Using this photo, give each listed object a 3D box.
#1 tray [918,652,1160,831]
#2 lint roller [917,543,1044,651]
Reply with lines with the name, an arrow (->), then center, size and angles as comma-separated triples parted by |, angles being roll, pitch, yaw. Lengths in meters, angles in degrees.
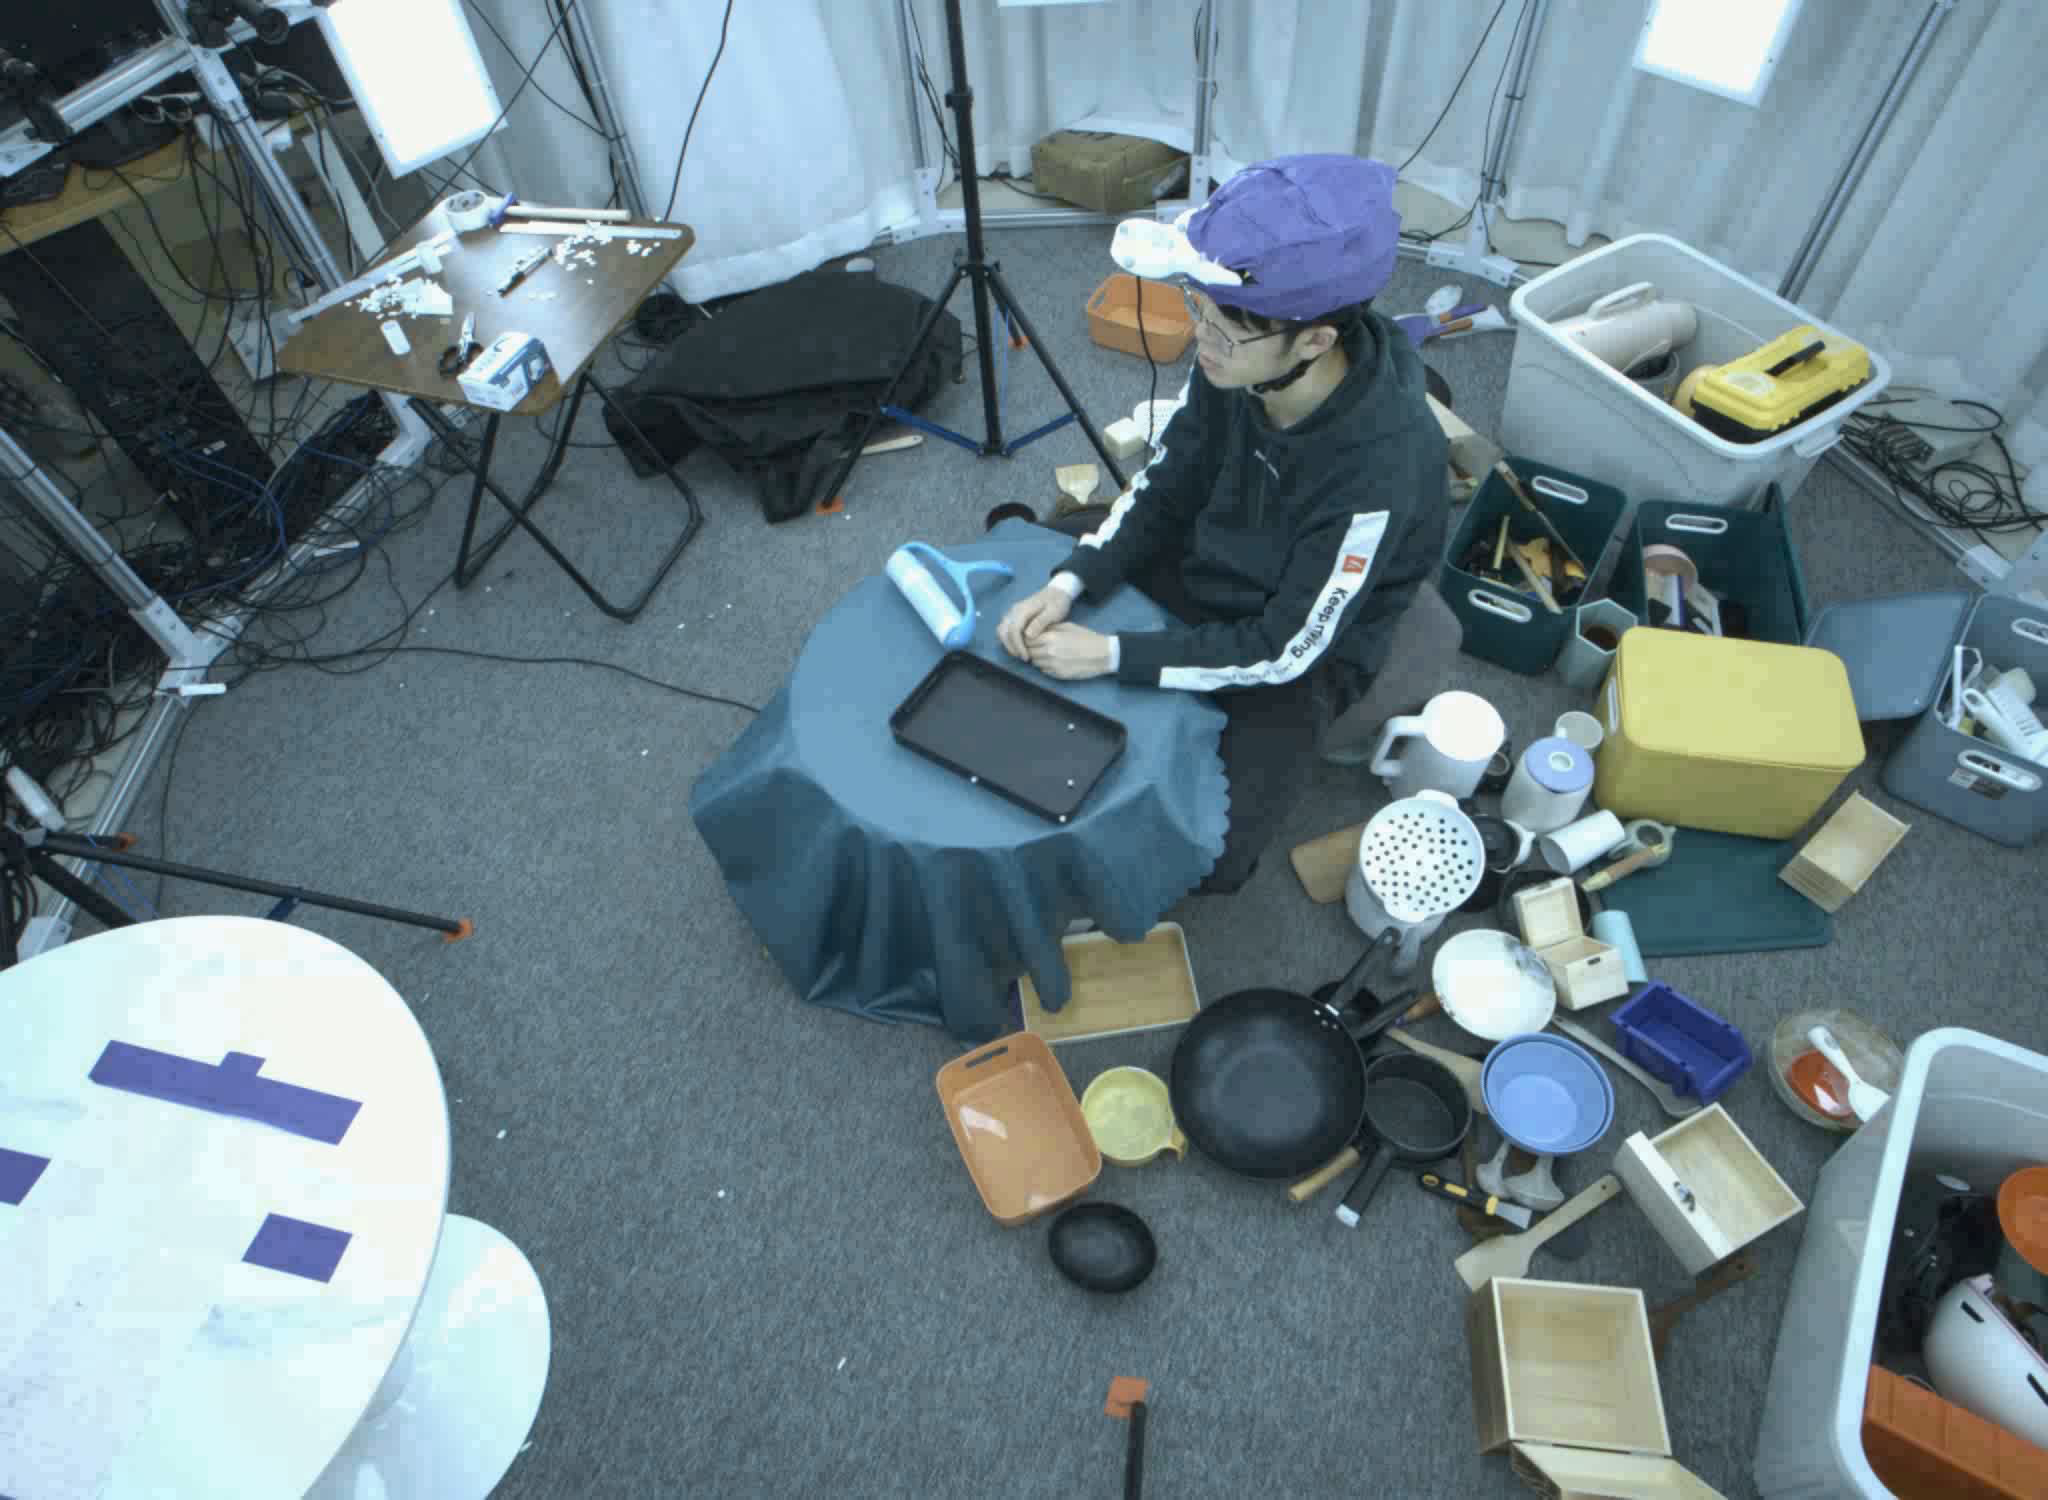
tray -> 0.021, -0.016, 1.773 | 0.313, 0.037, 0.185 | 27, 59, 20
lint roller -> -0.052, -0.264, 1.937 | 0.181, 0.069, 0.224 | -29, 57, -16
